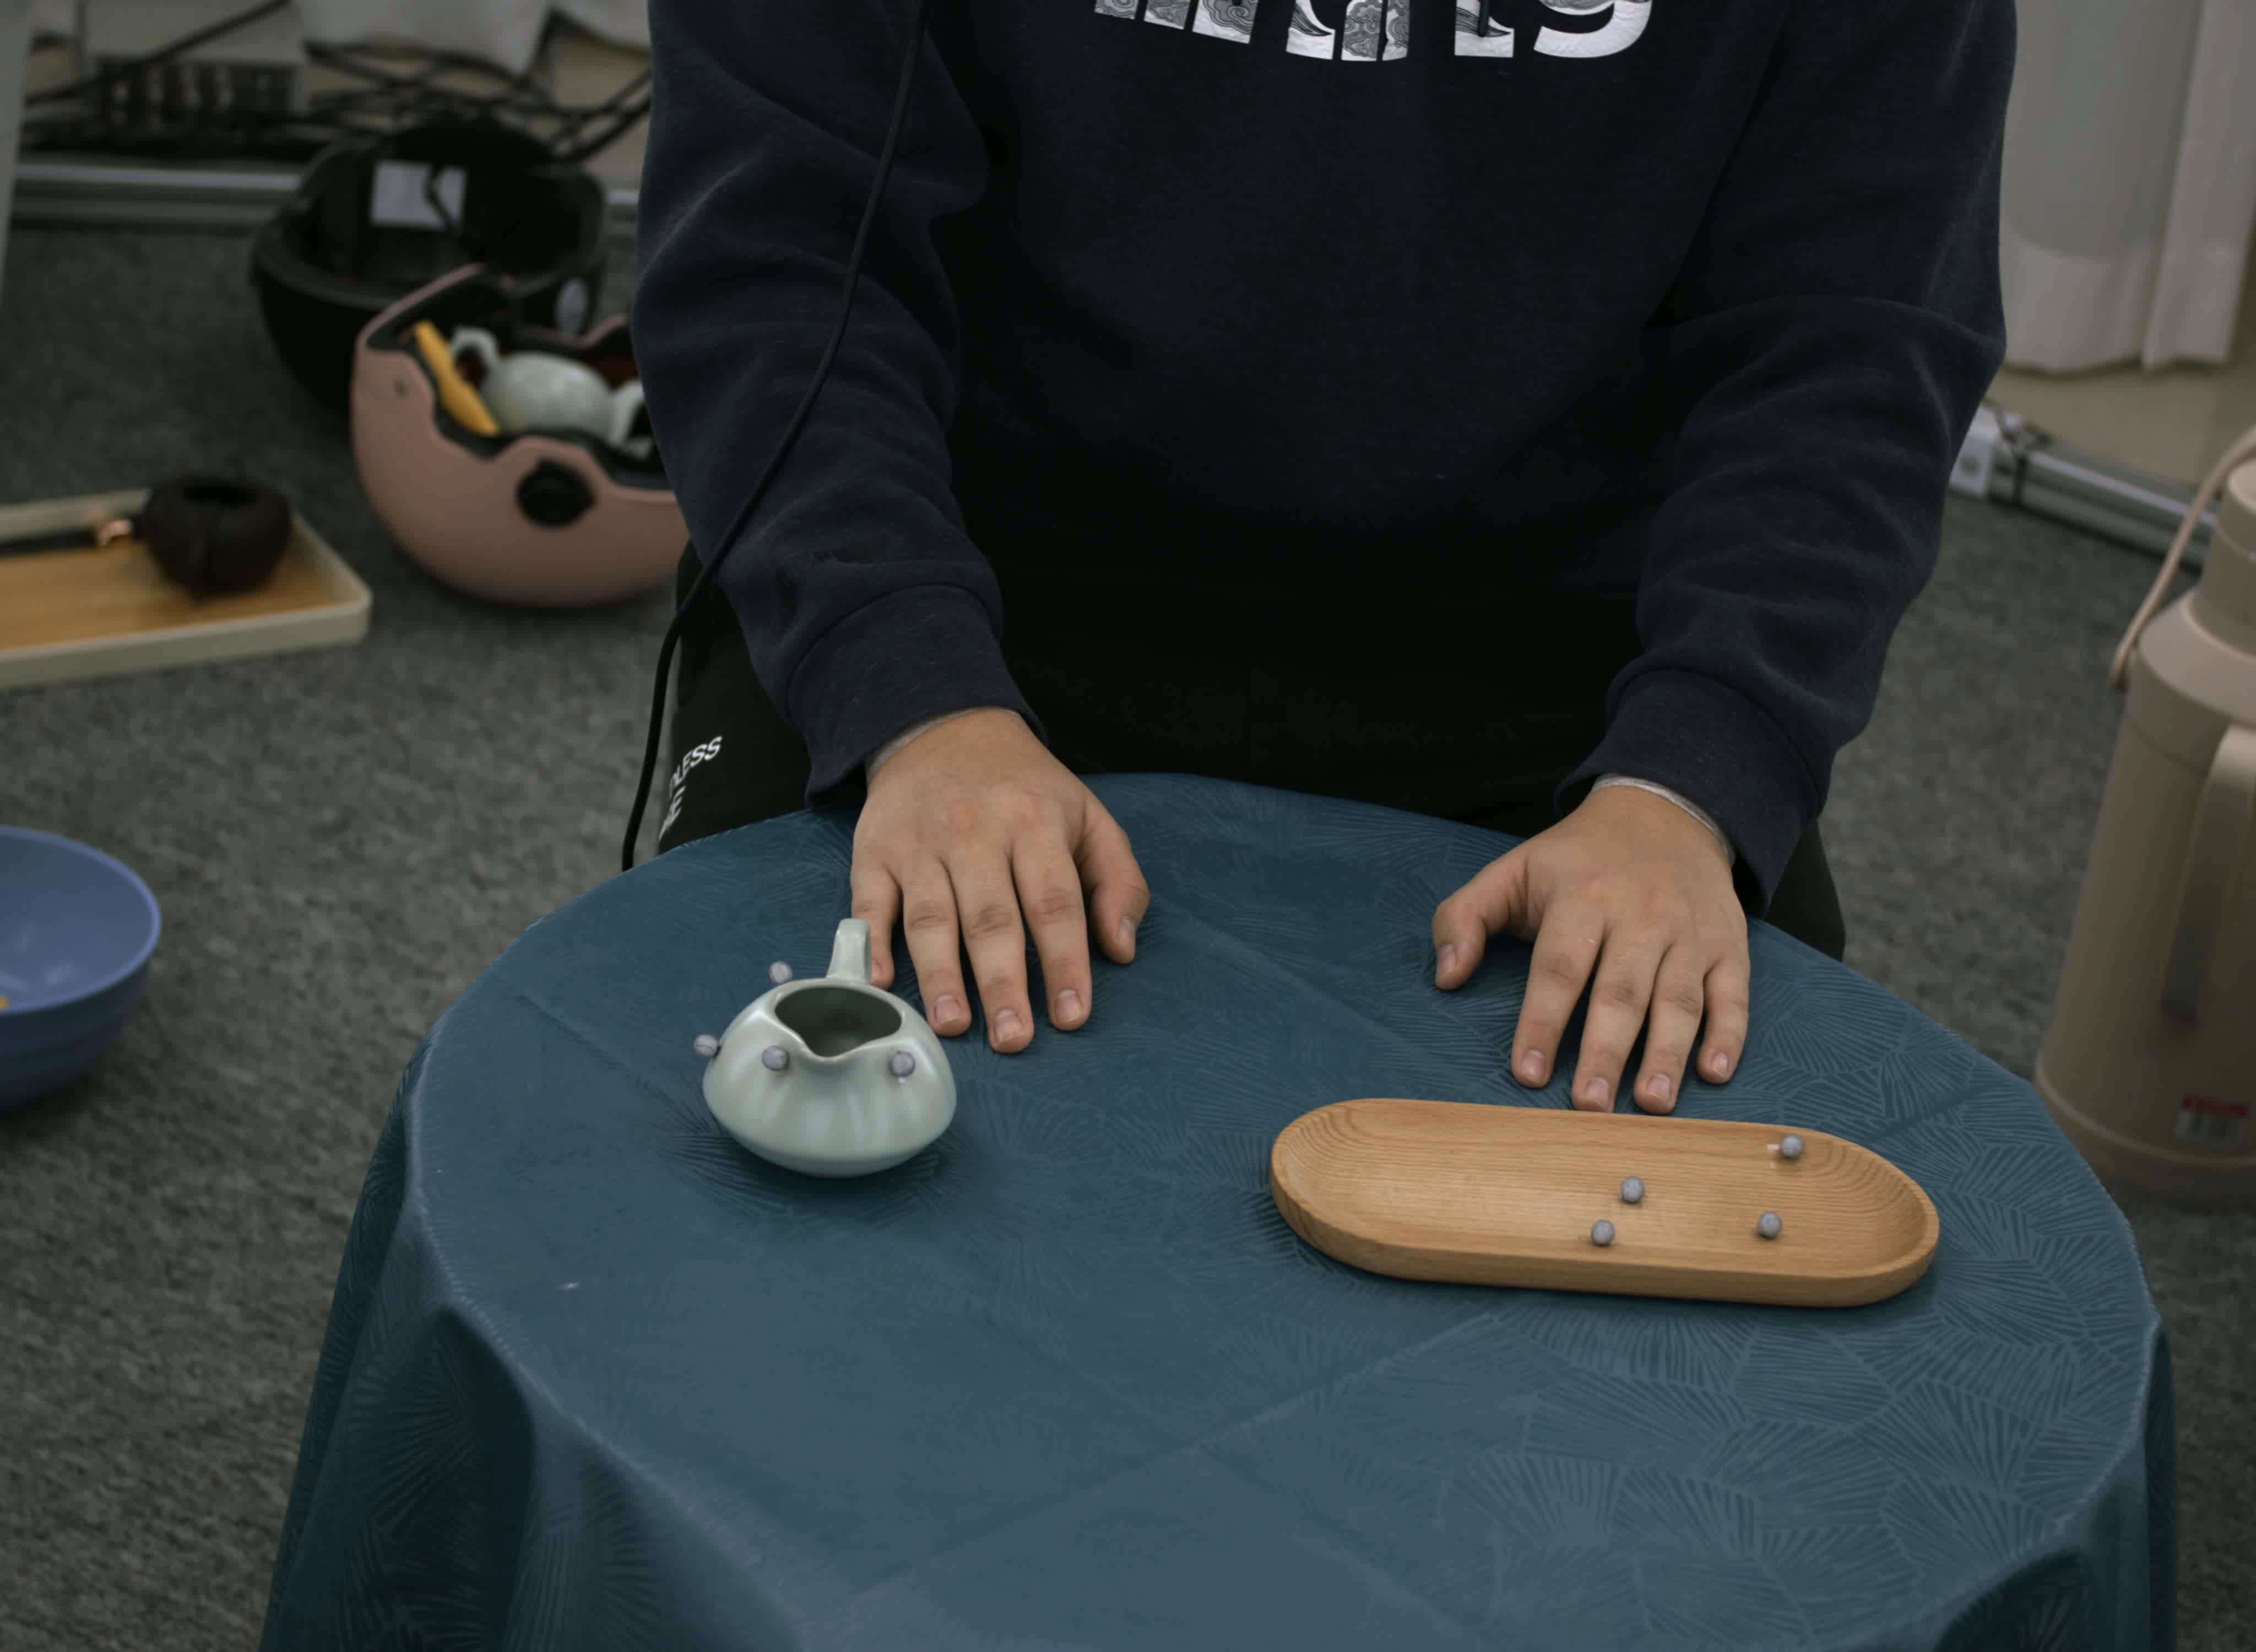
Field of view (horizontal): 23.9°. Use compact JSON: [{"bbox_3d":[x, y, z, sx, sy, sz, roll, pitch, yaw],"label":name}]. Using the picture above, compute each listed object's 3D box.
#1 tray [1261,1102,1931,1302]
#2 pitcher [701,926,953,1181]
[{"bbox_3d":[0.160,0.129,1.817,0.230,0.020,0.102,2,26,-5],"label":"tray"},{"bbox_3d":[-0.100,0.078,1.811,0.086,0.060,0.108,8,24,-1],"label":"pitcher"}]
